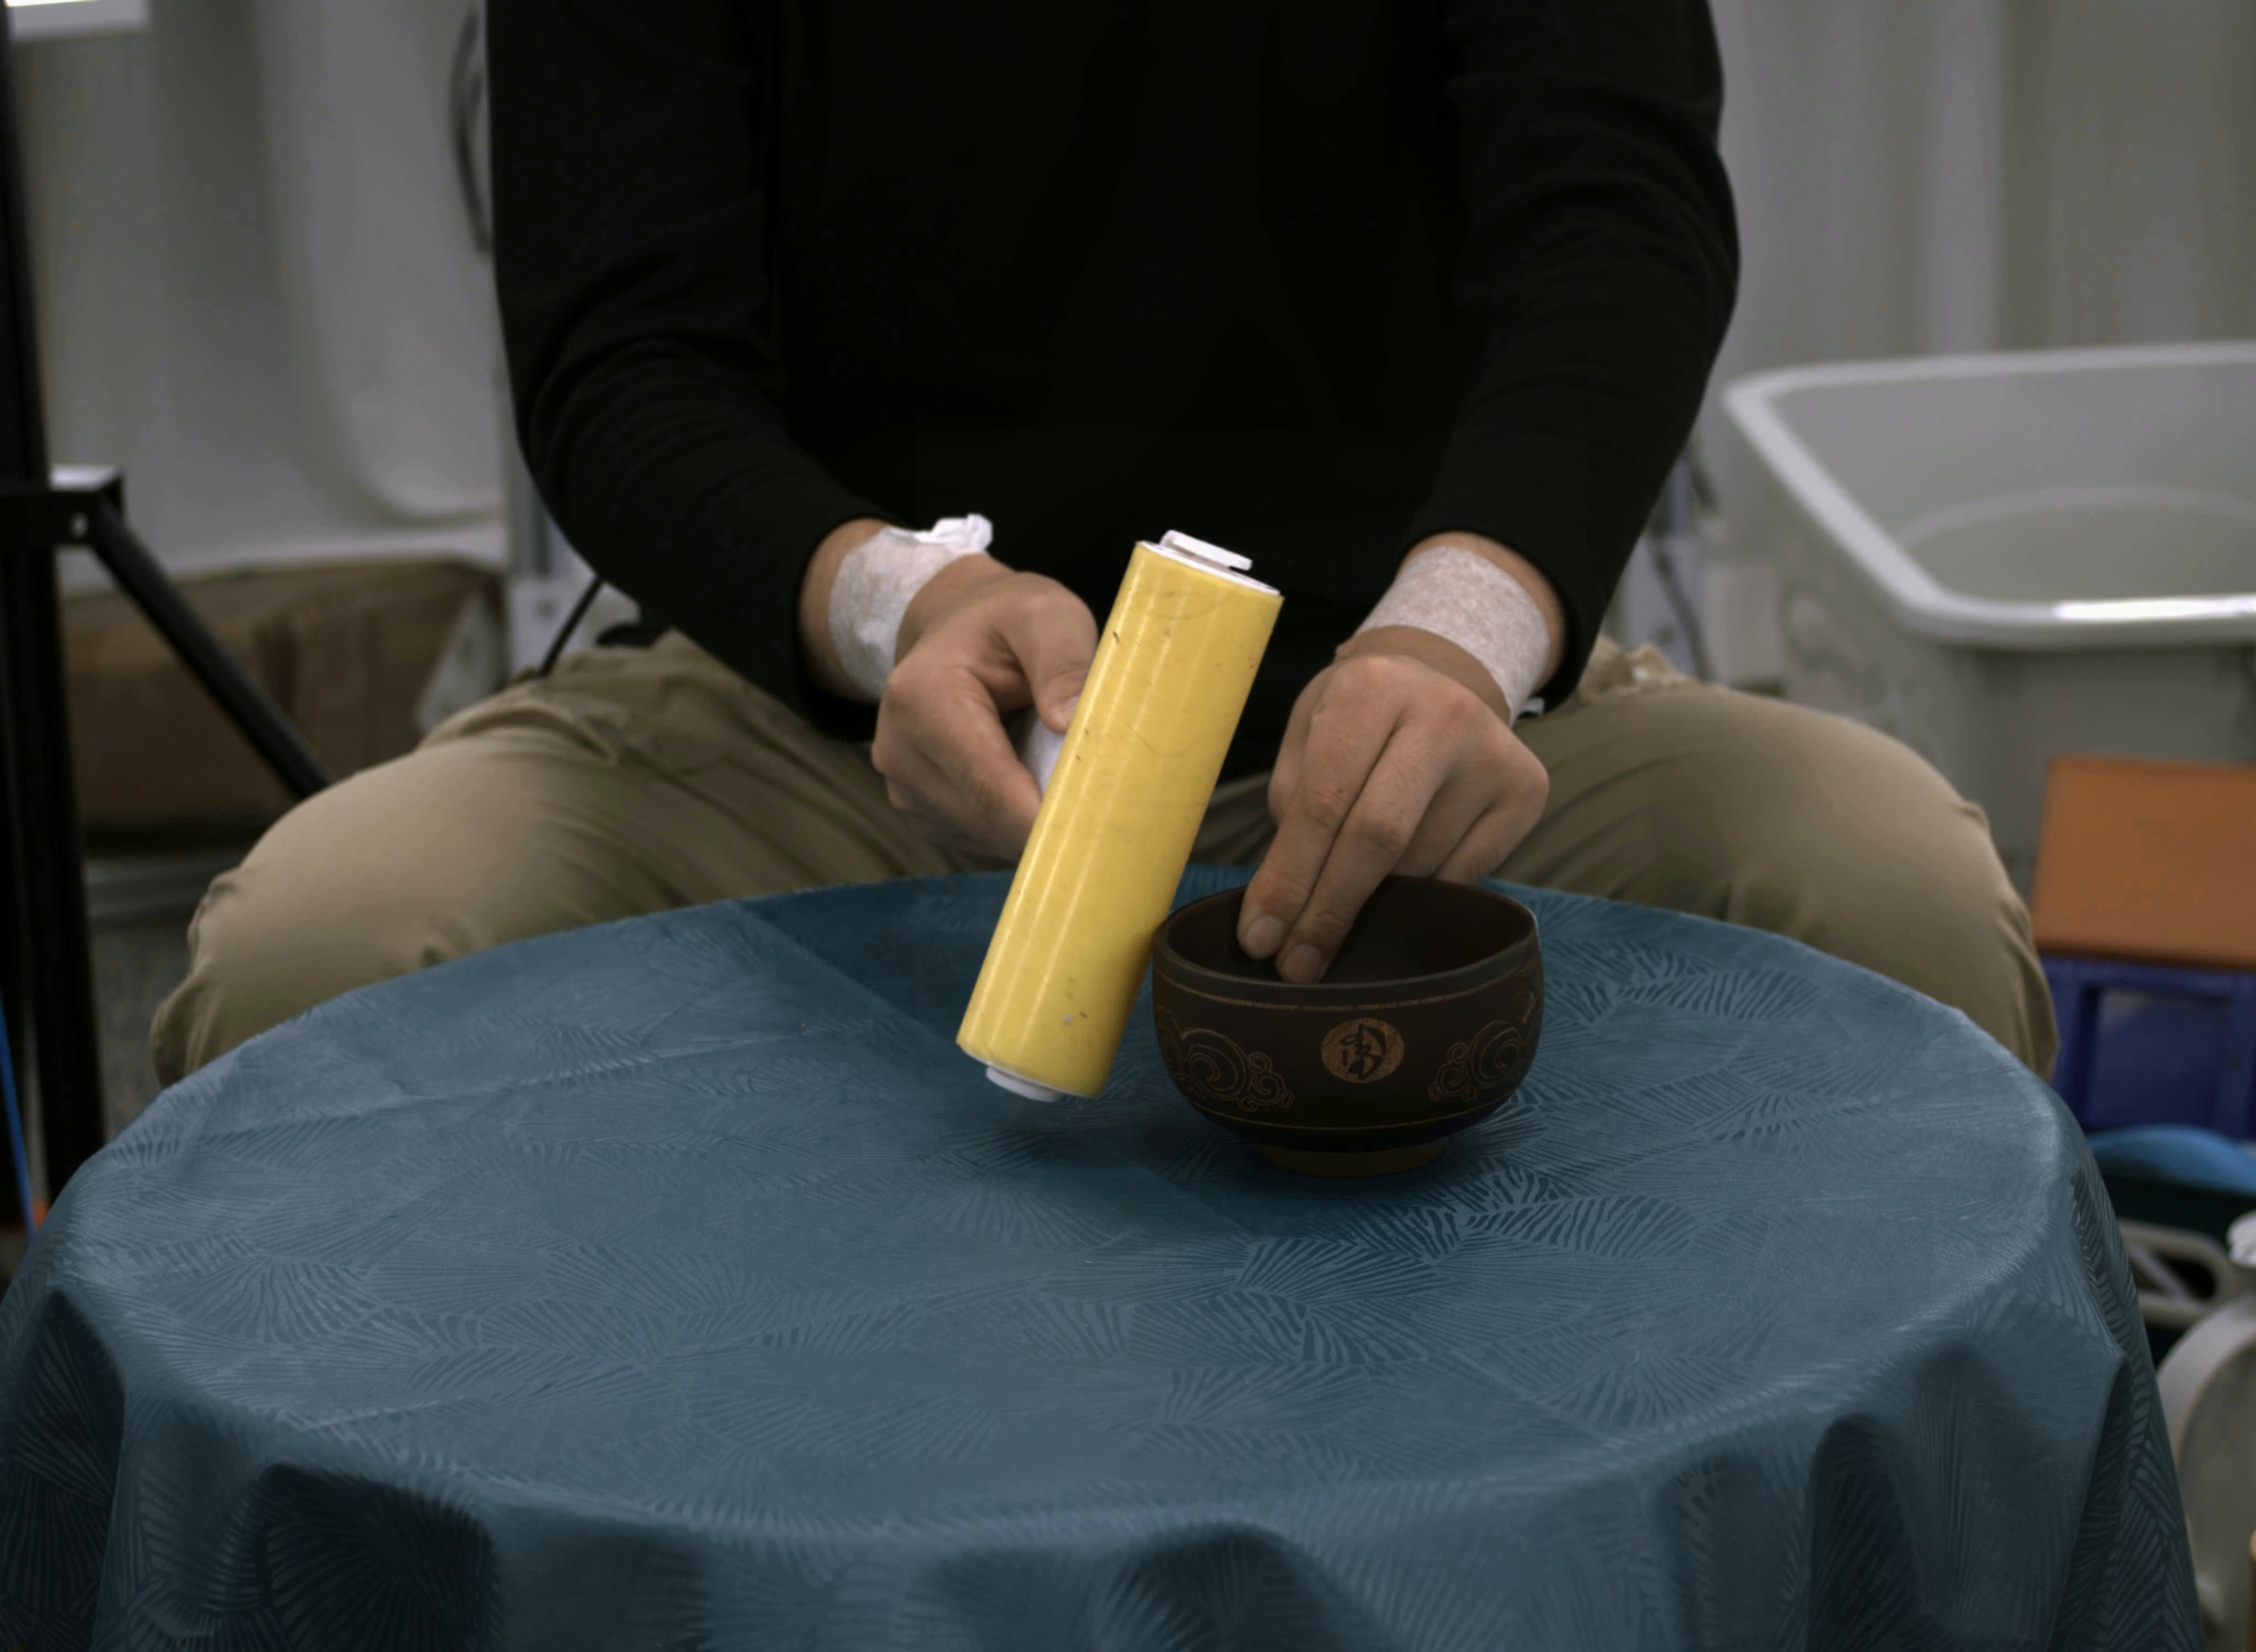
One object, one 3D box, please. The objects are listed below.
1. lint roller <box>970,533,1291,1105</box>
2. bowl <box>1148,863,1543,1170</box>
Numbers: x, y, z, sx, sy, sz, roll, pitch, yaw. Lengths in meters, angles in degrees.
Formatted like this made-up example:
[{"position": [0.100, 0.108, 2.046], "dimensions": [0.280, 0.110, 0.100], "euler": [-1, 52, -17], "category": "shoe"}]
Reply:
[{"position": [-0.026, -0.015, 1.659], "dimensions": [0.050, 0.175, 0.195], "euler": [18, 4, -25], "category": "lint roller"}, {"position": [0.065, 0.061, 1.577], "dimensions": [0.117, 0.070, 0.118], "euler": [-1, 16, -1], "category": "bowl"}]
